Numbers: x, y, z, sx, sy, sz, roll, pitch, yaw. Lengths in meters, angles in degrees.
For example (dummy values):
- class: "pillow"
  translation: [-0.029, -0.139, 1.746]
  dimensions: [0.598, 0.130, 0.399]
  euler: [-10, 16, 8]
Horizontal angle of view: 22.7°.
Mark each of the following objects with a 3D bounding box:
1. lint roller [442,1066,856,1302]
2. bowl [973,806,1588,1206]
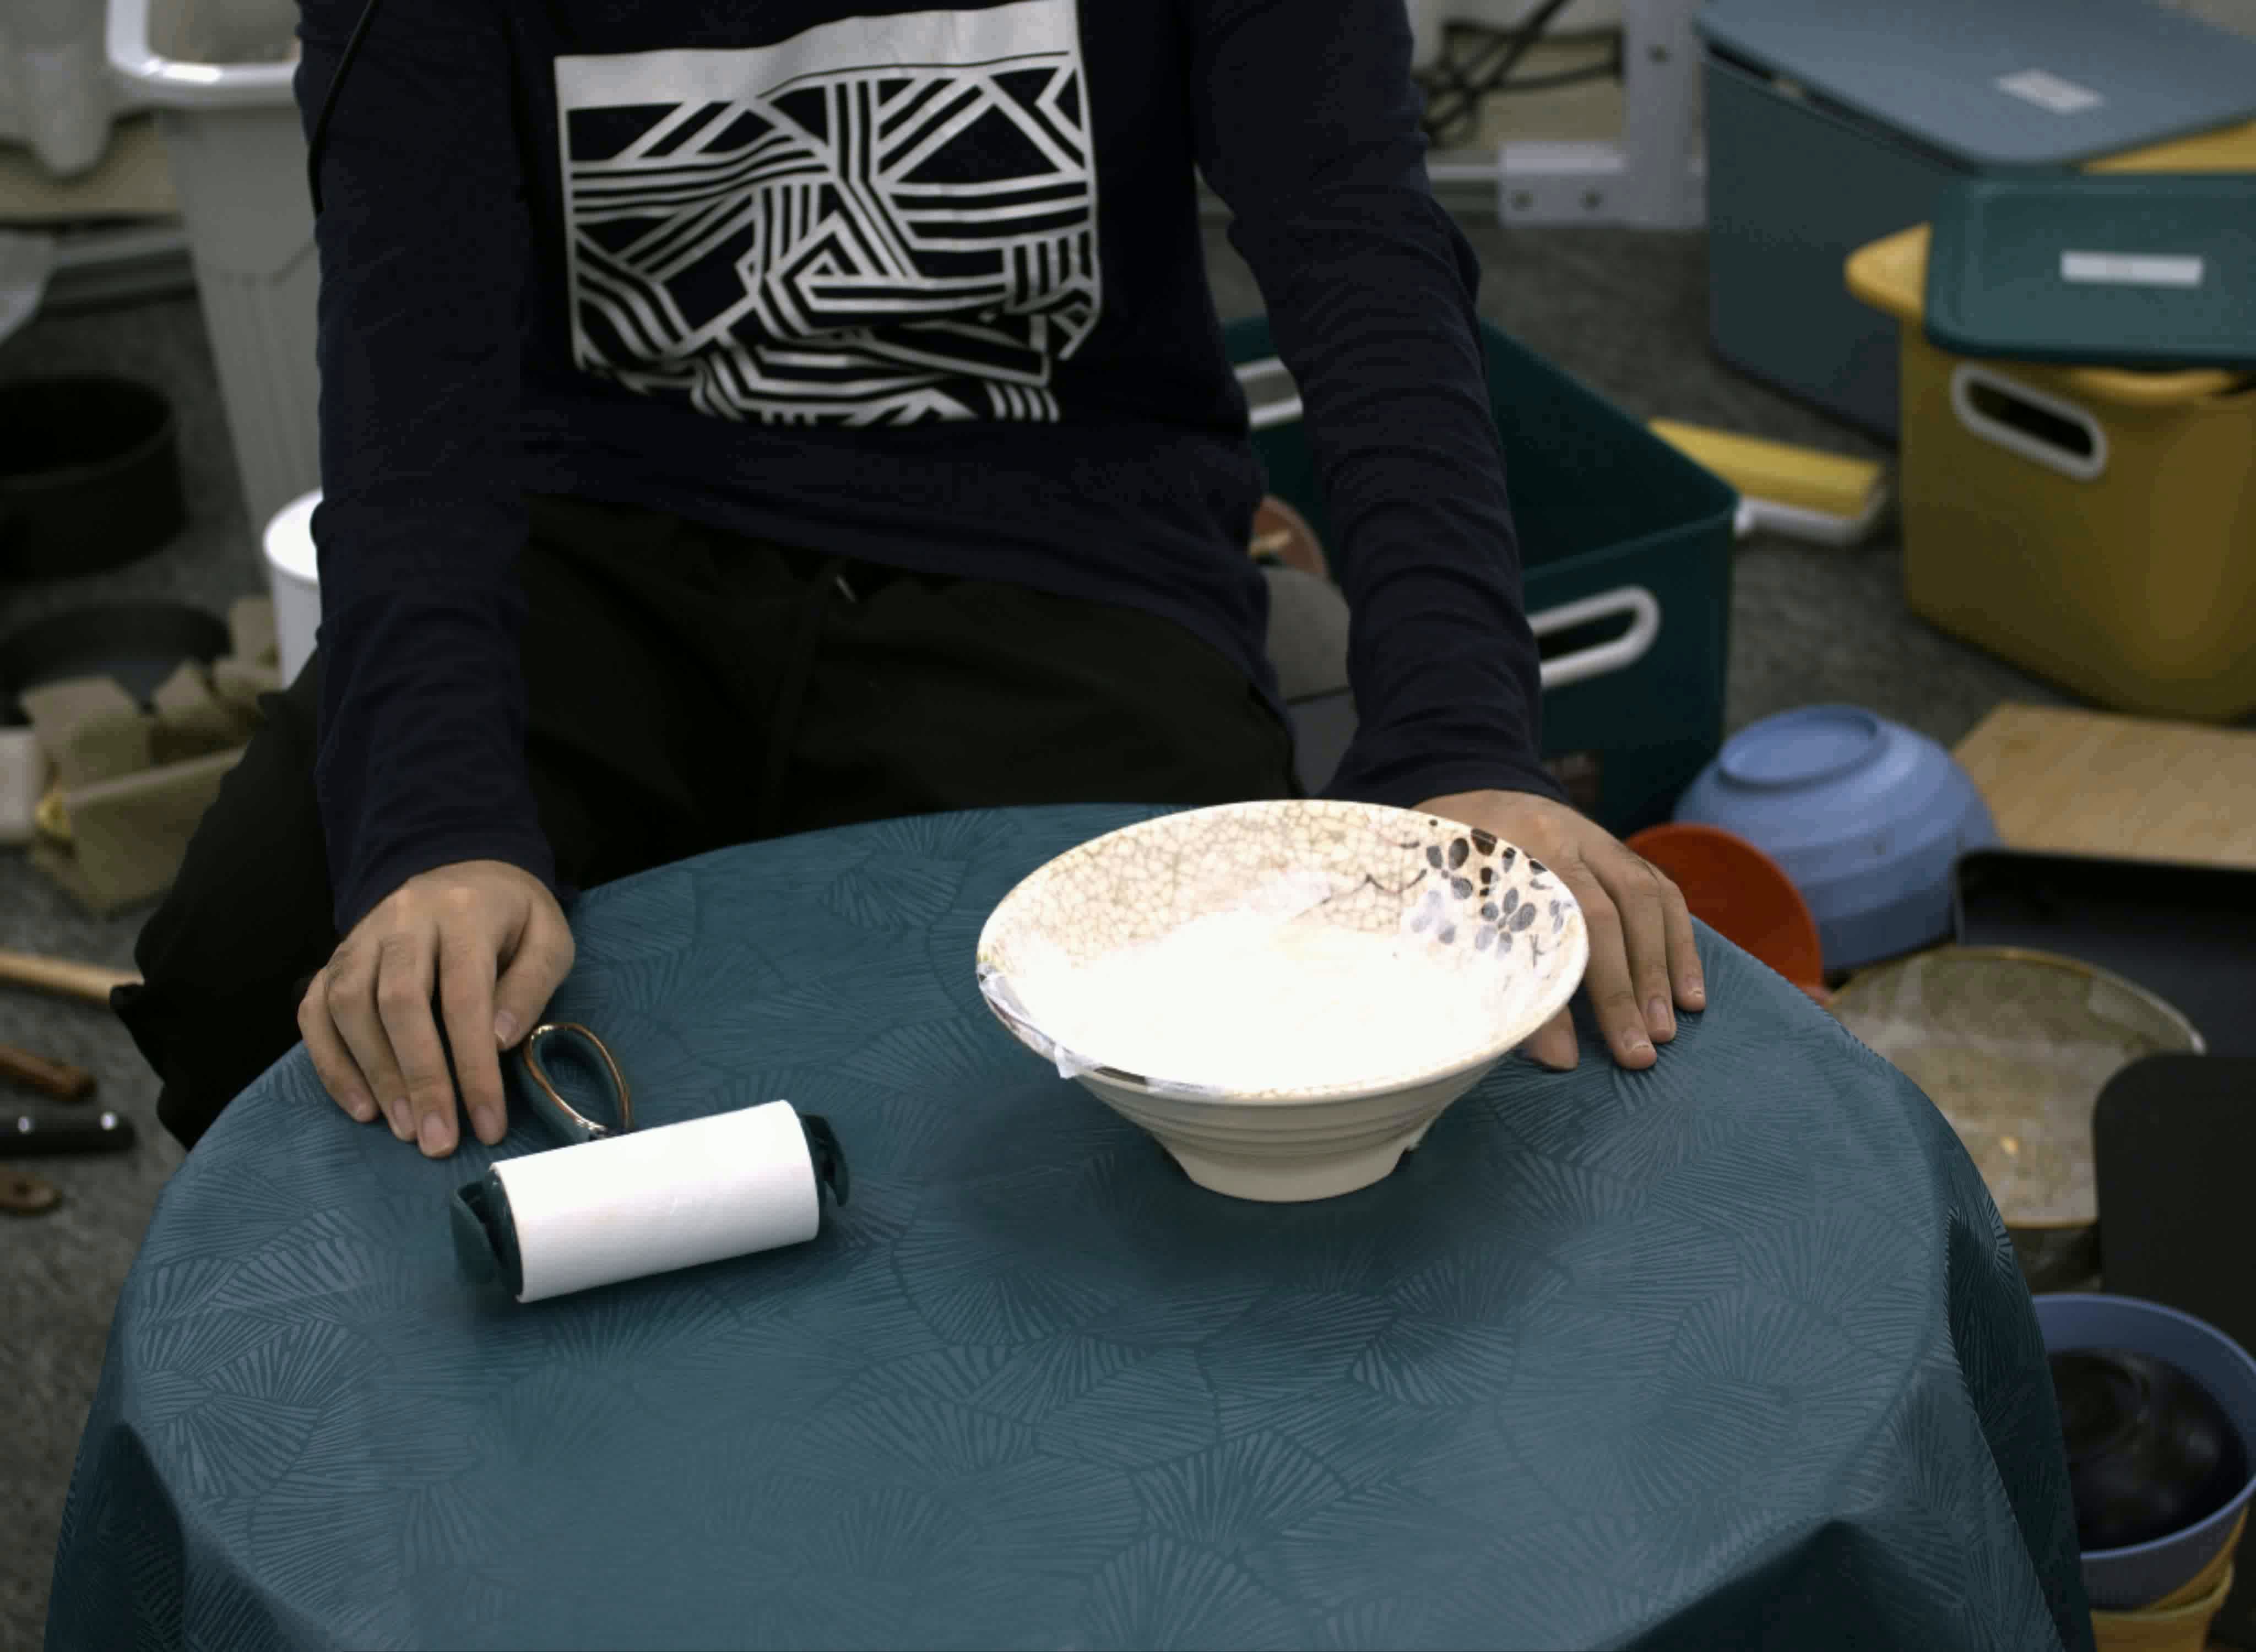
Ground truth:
- class: "lint roller"
  translation: [-0.177, 0.099, 1.883]
  dimensions: [0.134, 0.048, 0.181]
  euler: [-11, 24, -16]
- class: "bowl"
  translation: [0.051, 0.072, 1.871]
  dimensions: [0.203, 0.077, 0.207]
  euler: [-1, 25, 1]
